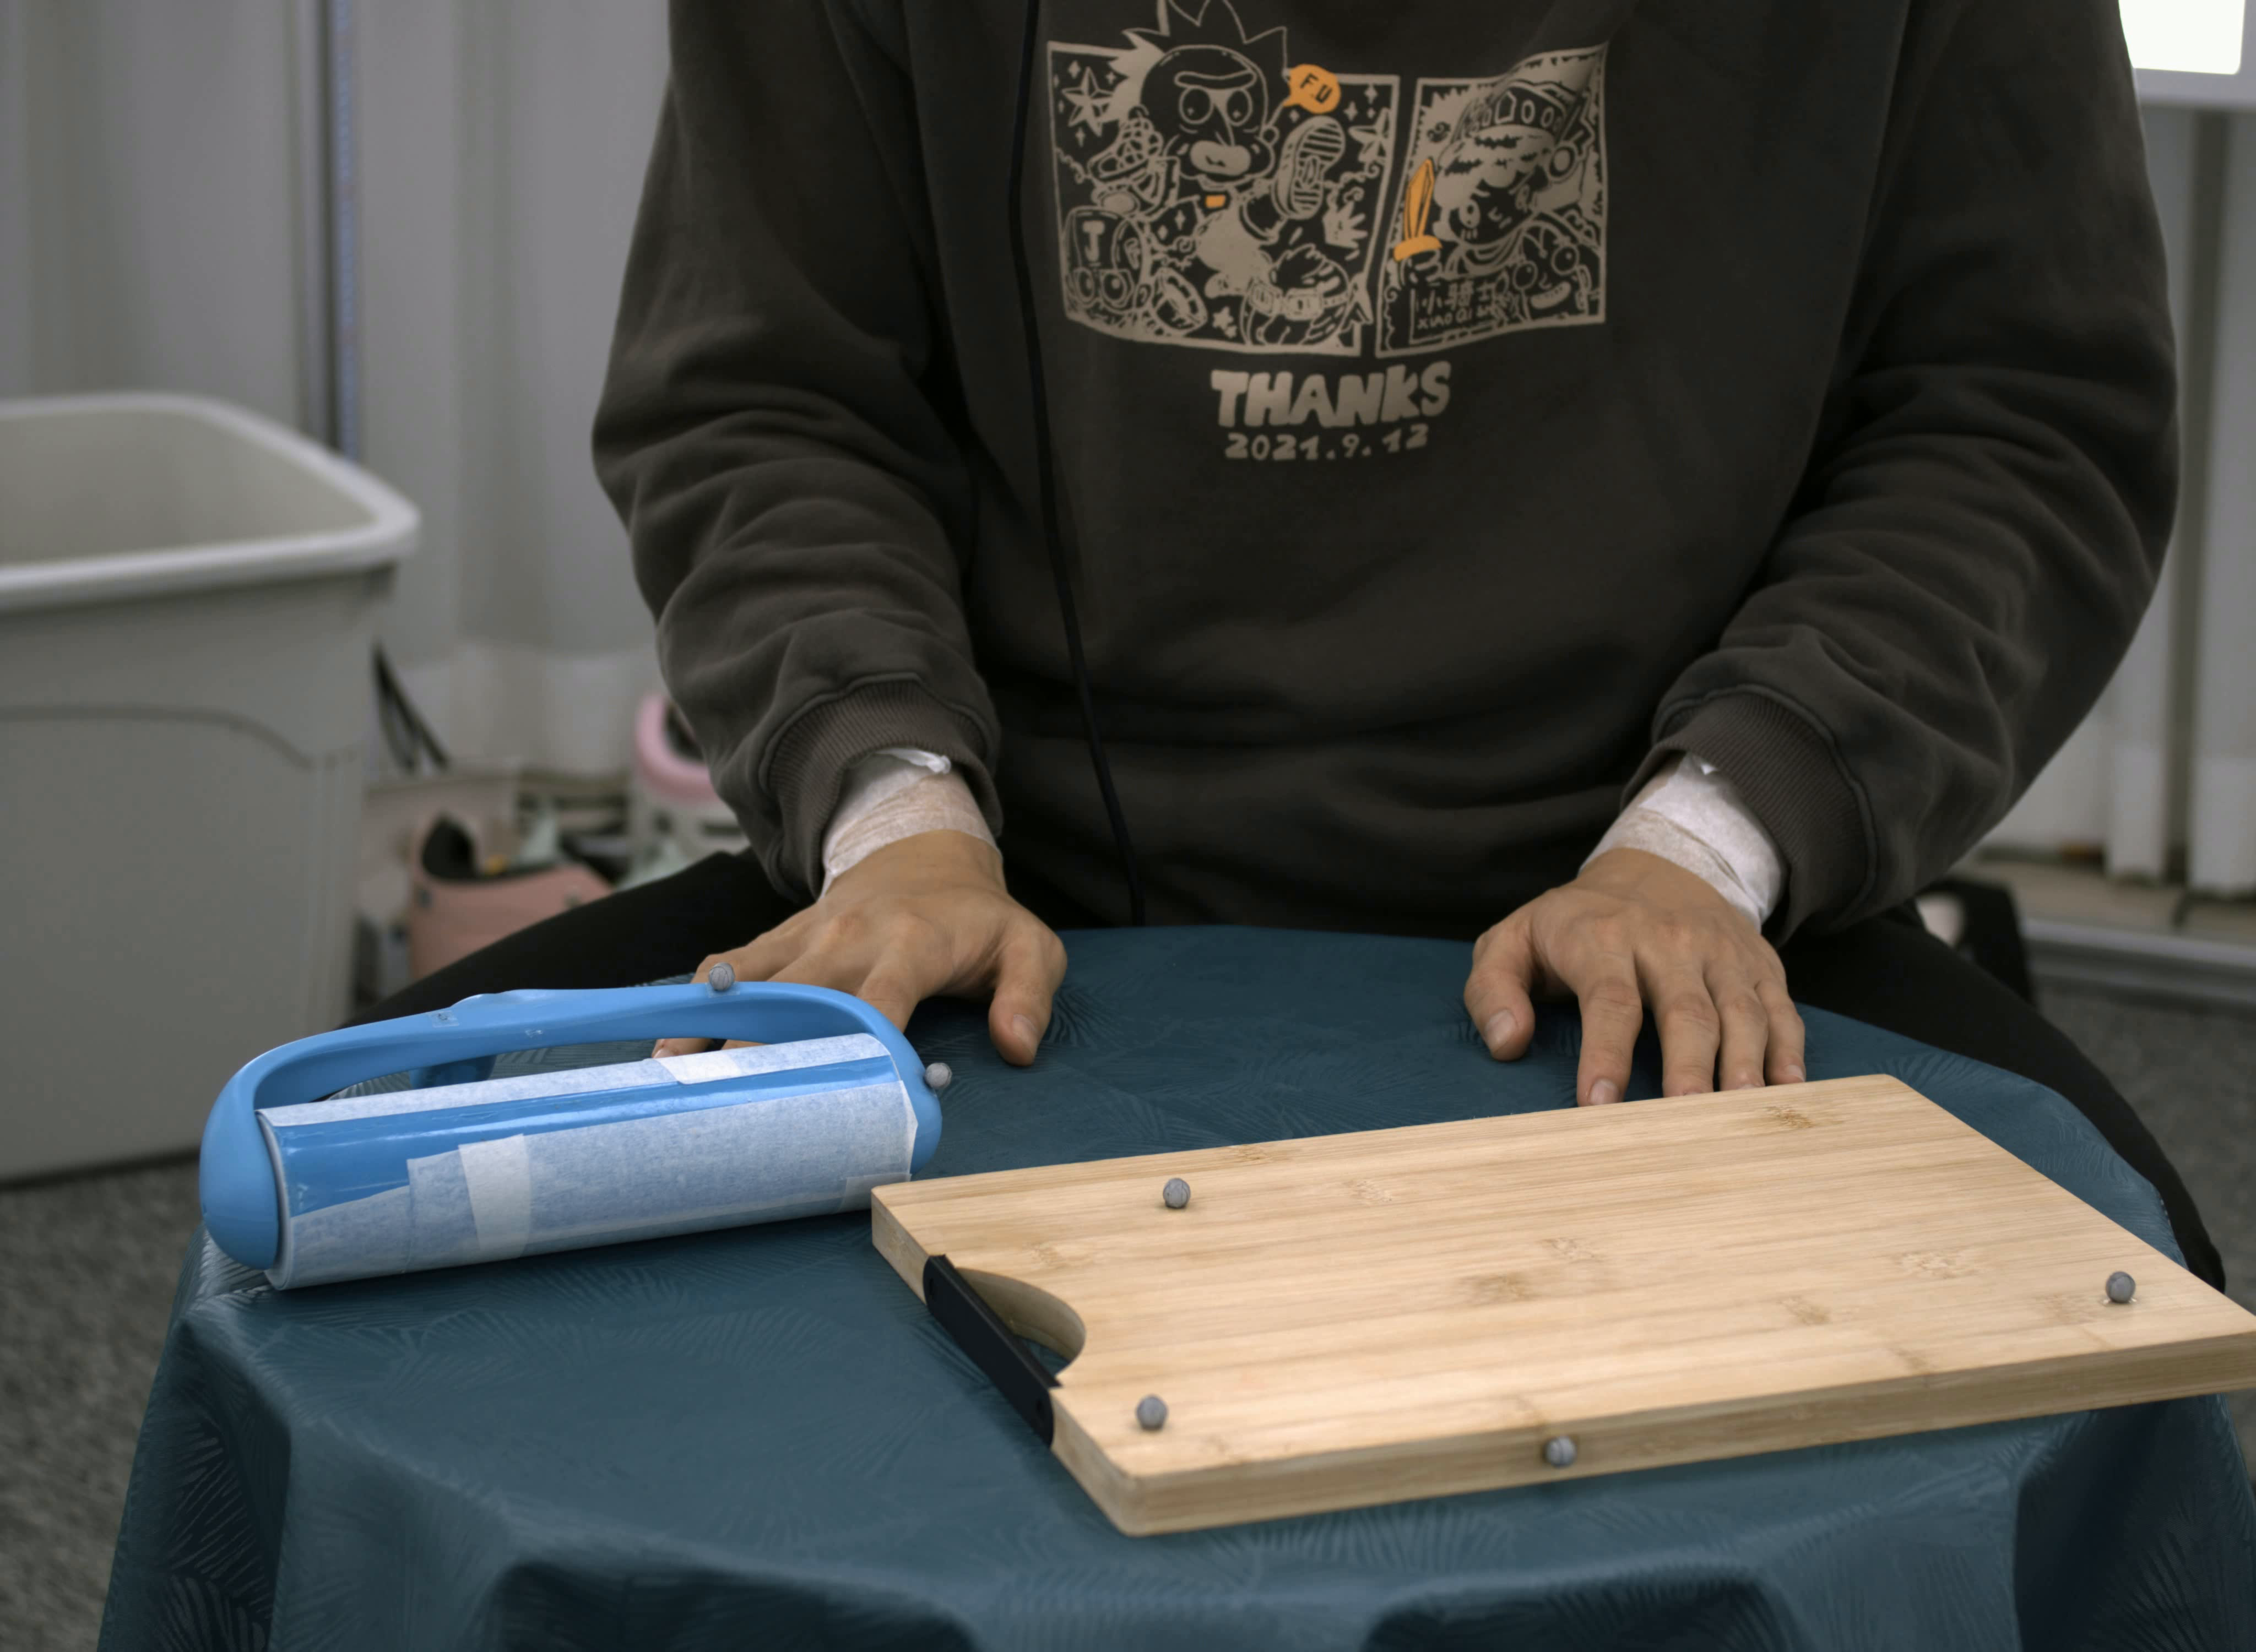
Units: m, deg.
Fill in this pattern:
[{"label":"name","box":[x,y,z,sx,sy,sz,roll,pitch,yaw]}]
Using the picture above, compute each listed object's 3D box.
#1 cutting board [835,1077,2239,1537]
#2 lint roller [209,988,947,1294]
[{"label":"cutting board","box":[0.114,0.134,1.528,0.349,0.024,0.248,-5,16,-20]},{"label":"lint roller","box":[-0.188,0.084,1.619,0.230,0.068,0.178,-8,18,-27]}]
